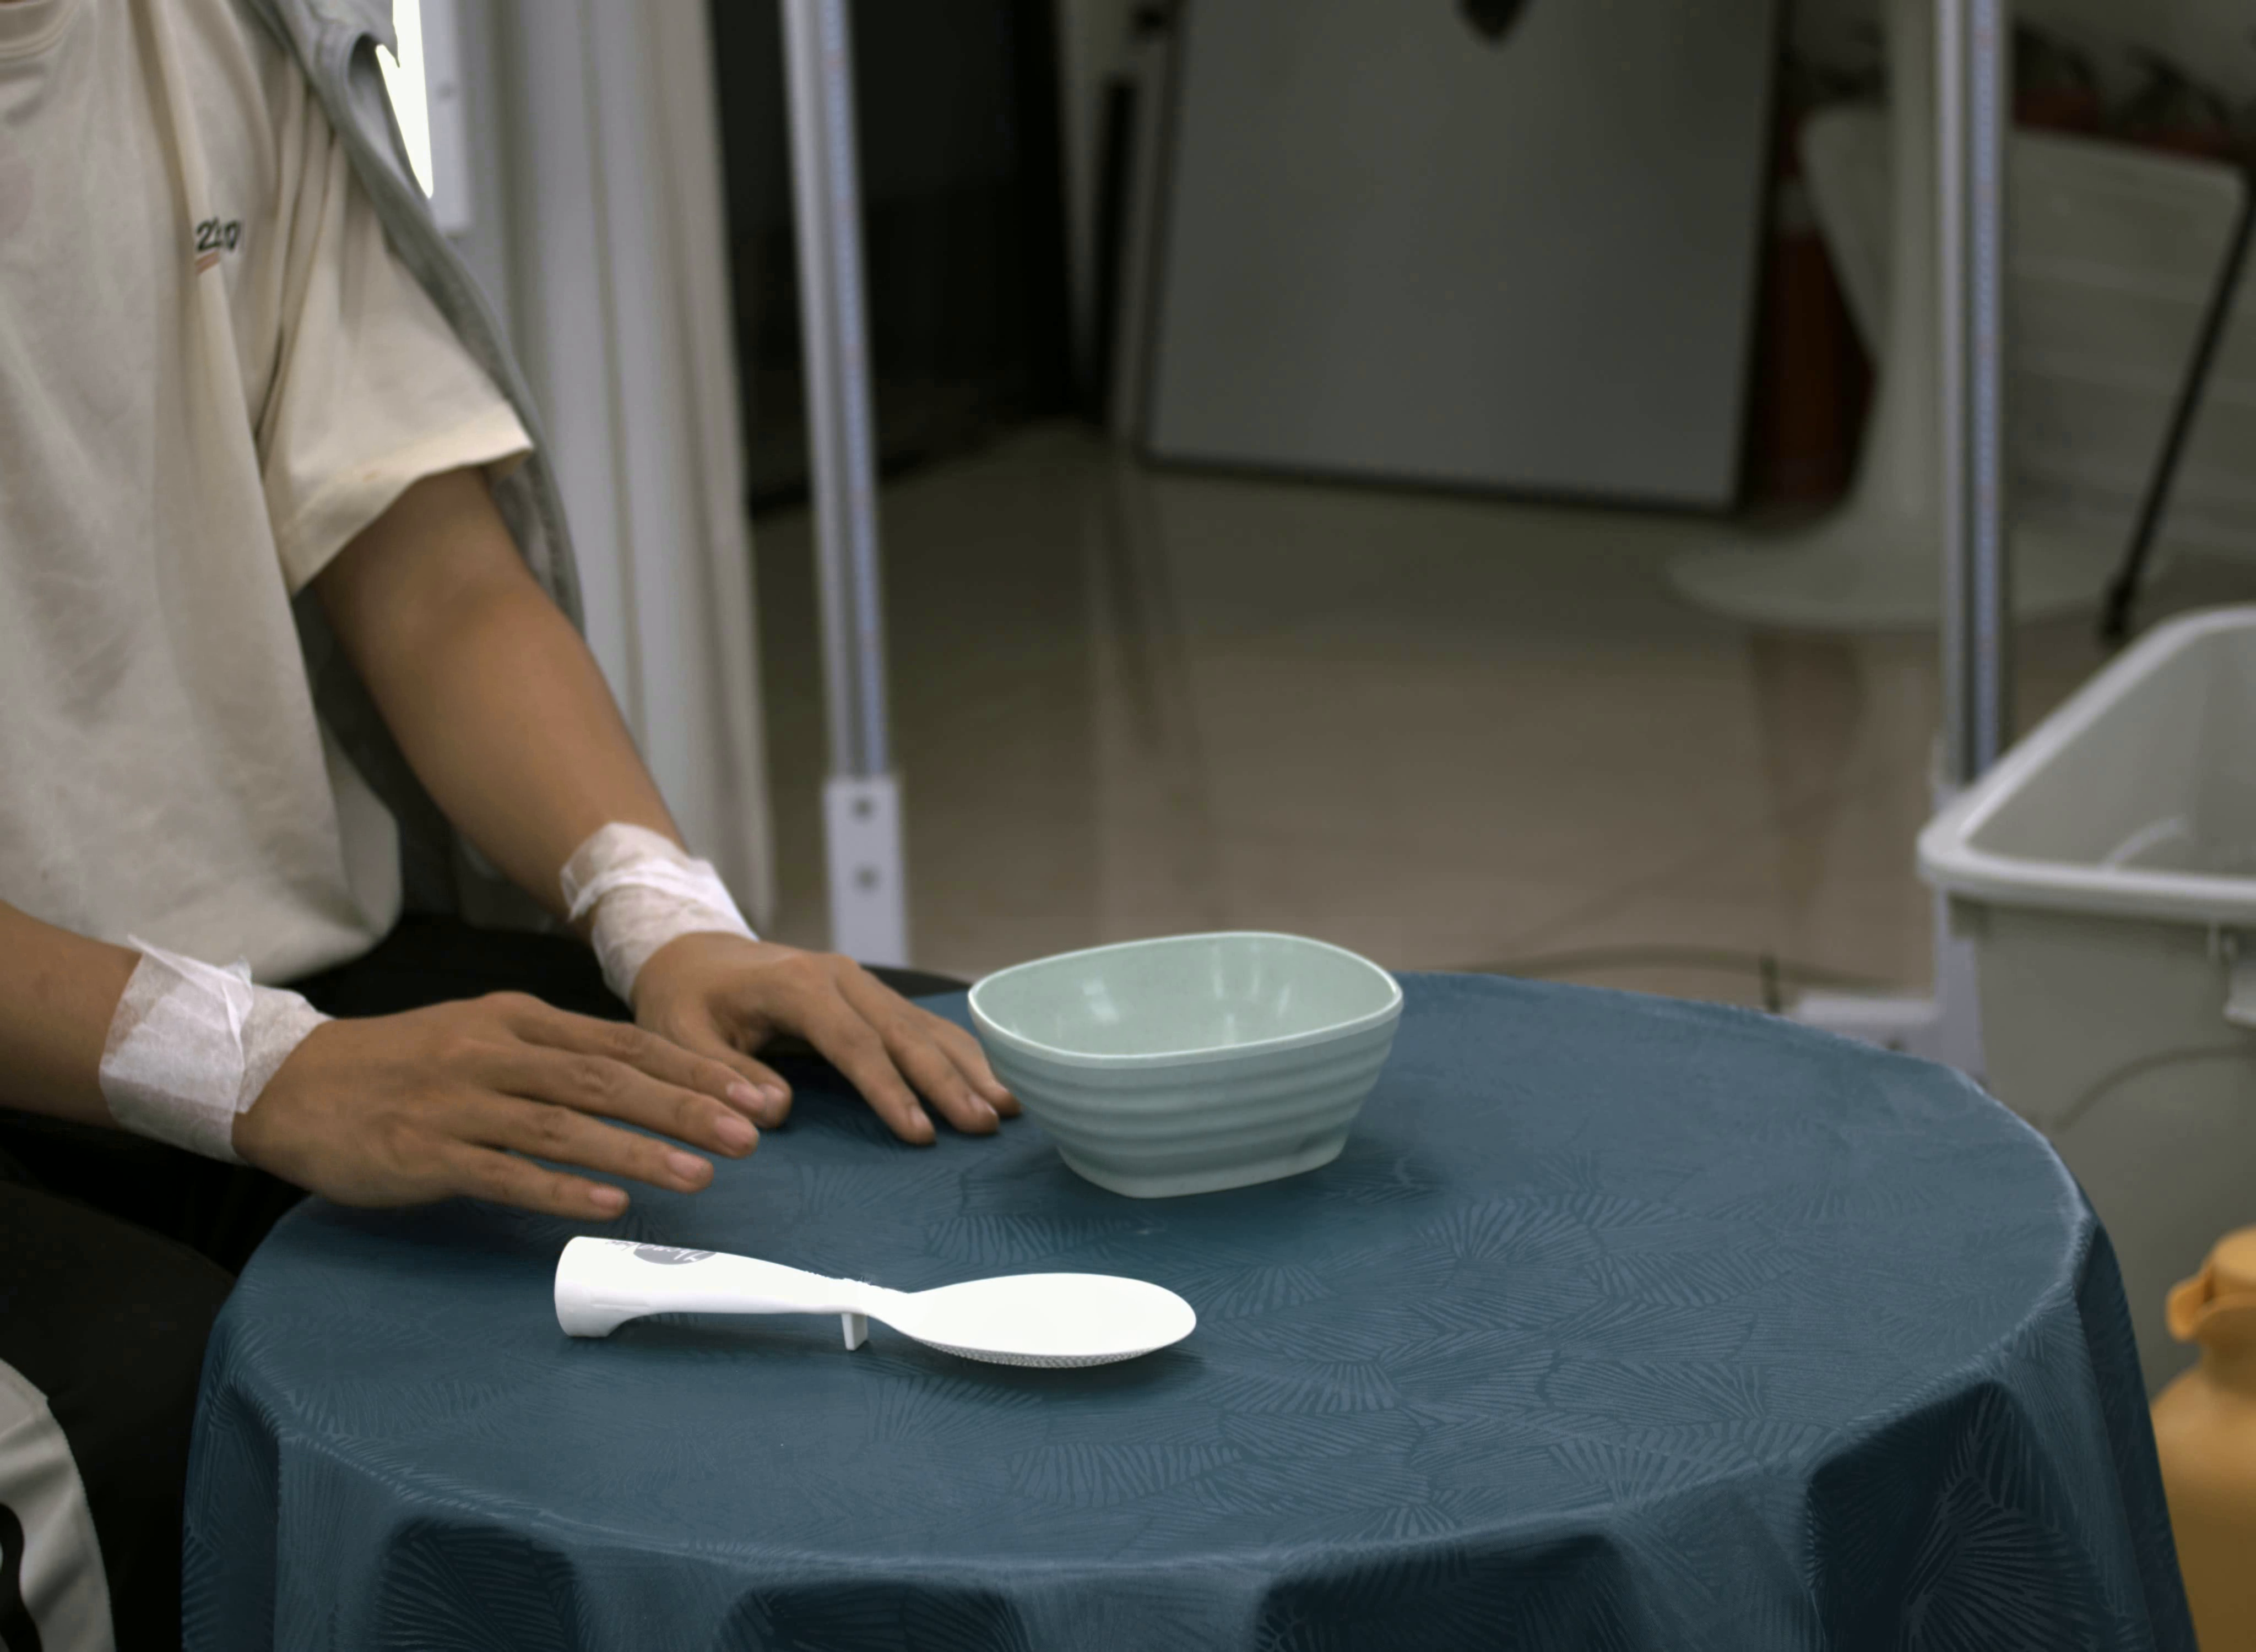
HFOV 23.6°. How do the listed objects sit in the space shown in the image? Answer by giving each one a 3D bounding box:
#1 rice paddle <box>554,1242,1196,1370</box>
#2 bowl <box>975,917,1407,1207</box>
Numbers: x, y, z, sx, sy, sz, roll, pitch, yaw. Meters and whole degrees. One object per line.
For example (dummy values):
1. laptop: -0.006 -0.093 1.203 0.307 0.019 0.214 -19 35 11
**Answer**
1. rice paddle: -0.076 0.145 1.637 0.205 0.030 0.068 1 16 20
2. bowl: 0.022 0.082 1.801 0.149 0.059 0.152 -5 17 1
